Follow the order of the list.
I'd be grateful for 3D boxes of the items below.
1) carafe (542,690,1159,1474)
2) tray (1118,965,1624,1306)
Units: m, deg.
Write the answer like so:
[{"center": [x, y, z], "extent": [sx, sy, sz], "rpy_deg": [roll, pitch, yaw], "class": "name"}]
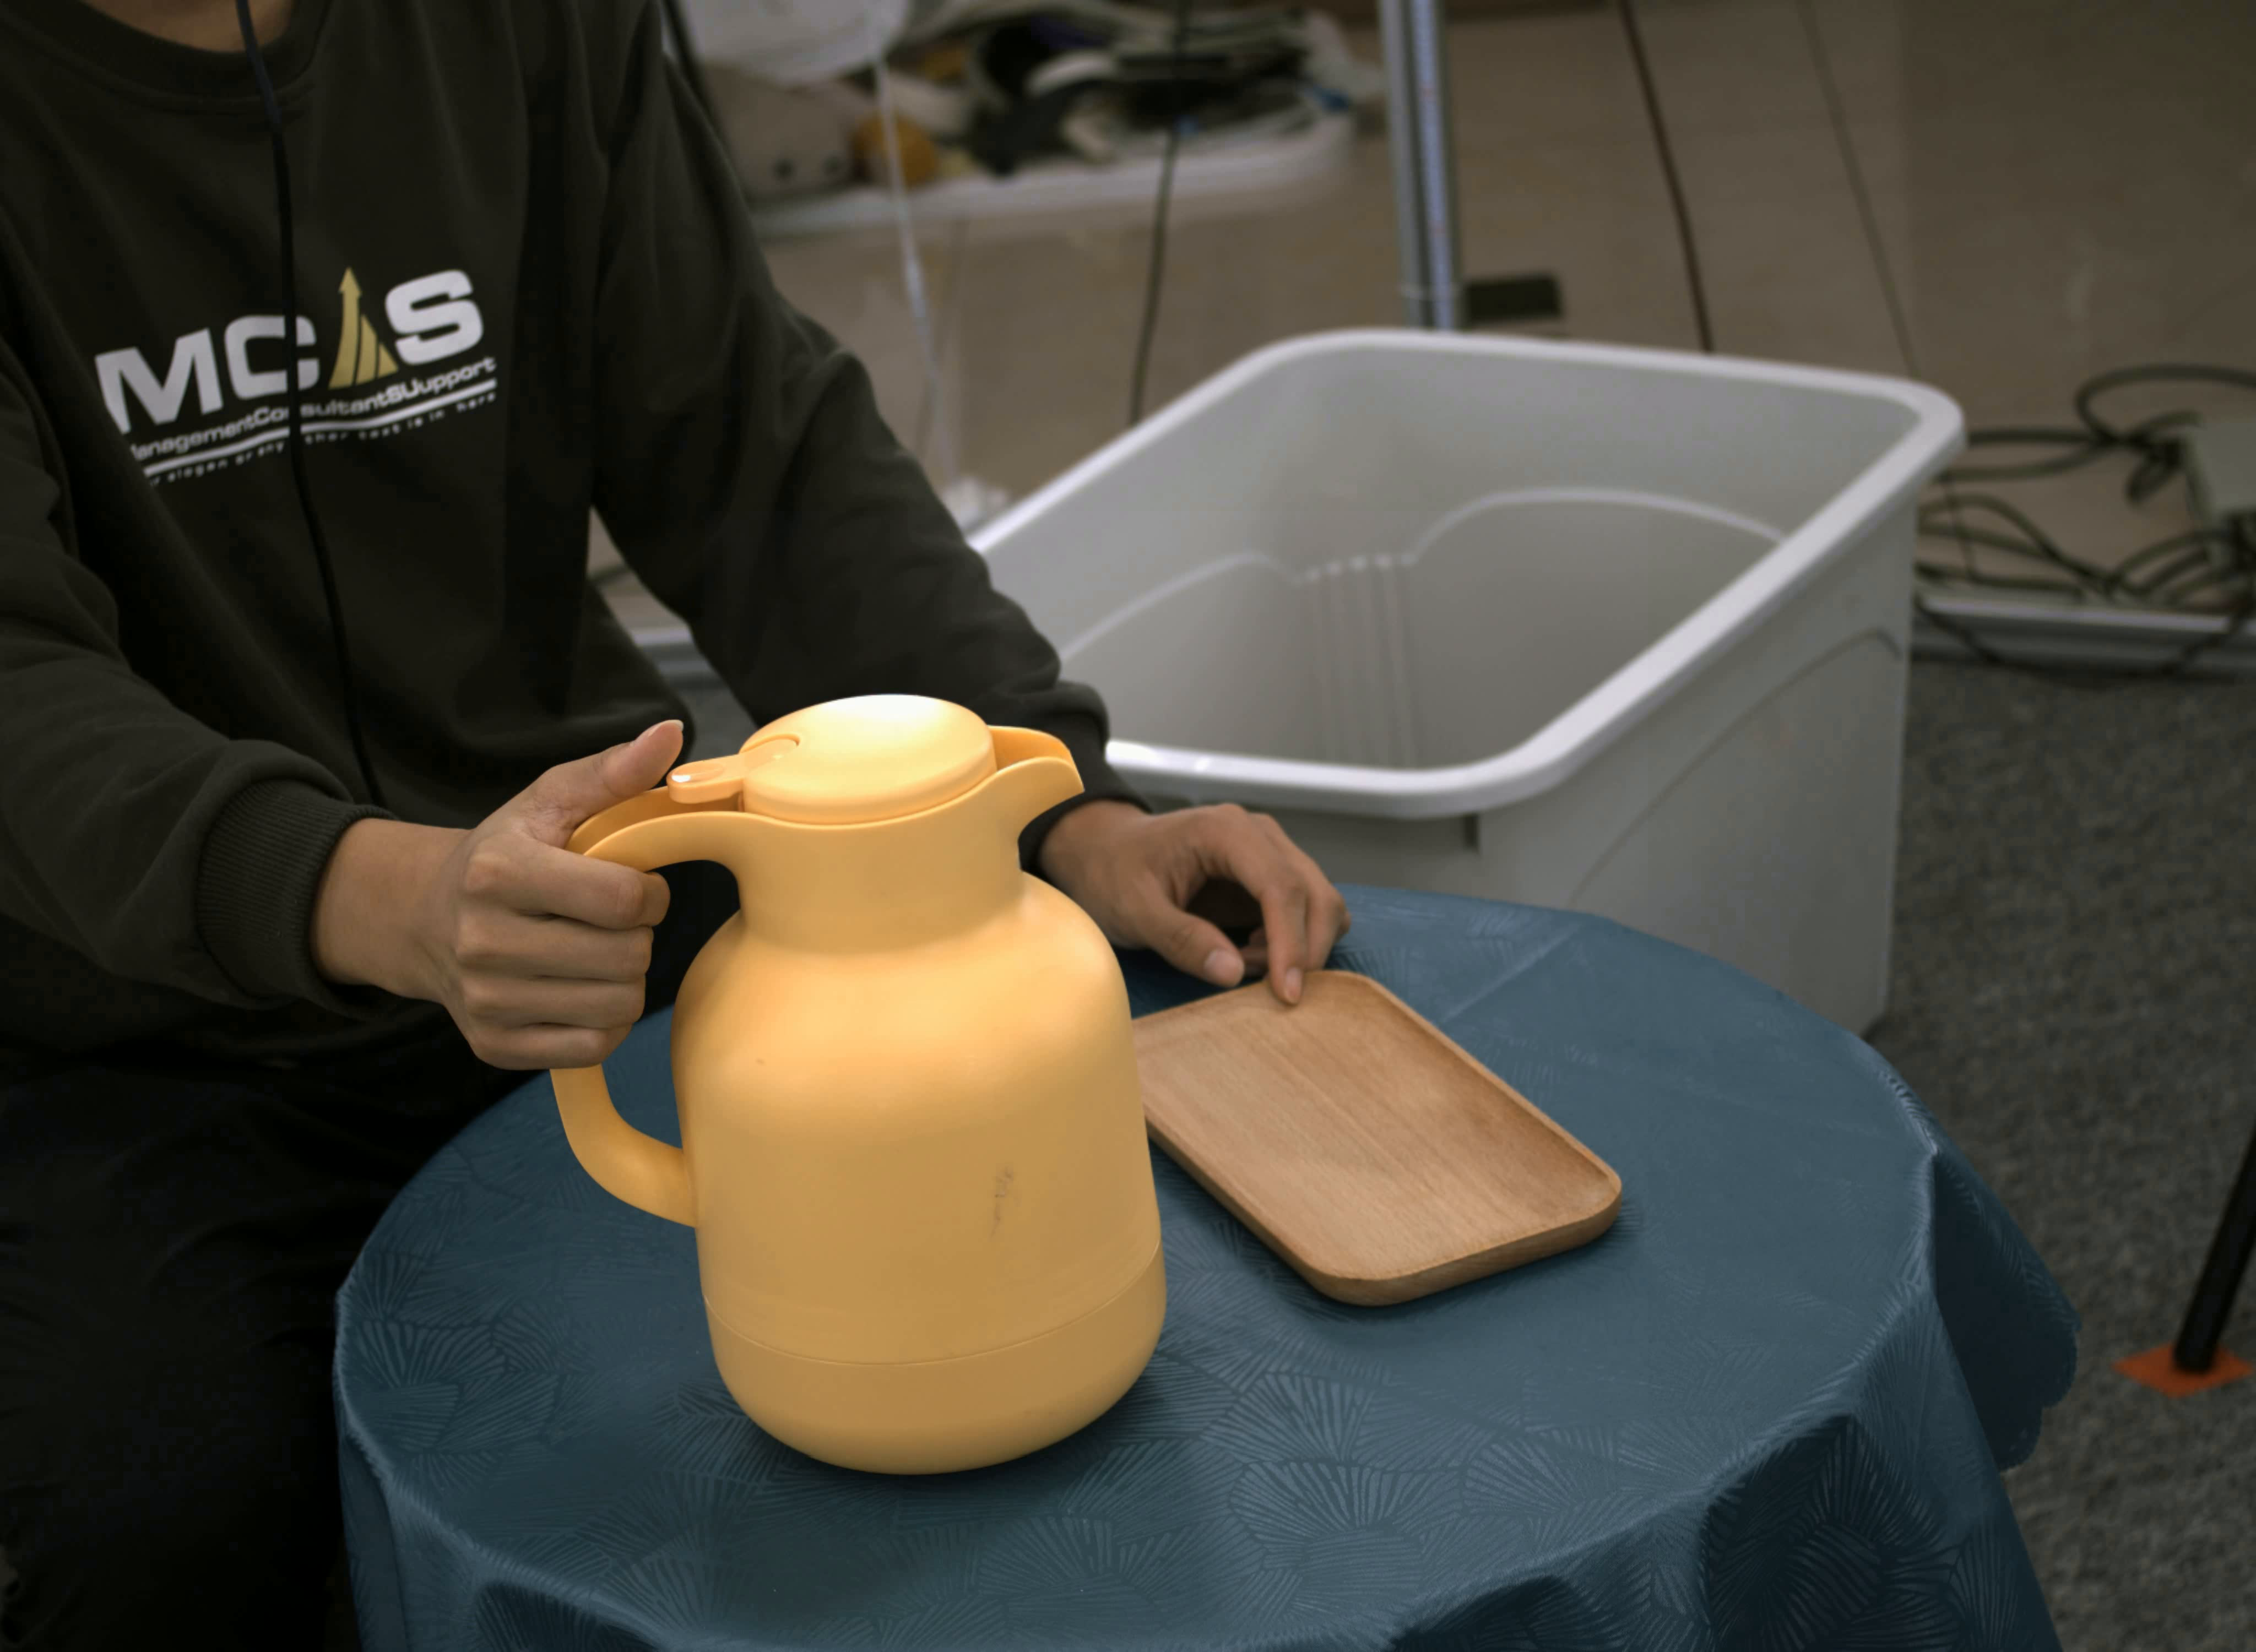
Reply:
[{"center": [-0.097, 0.086, 1.967], "extent": [0.202, 0.264, 0.161], "rpy_deg": [-6, 22, -3], "class": "carafe"}, {"center": [0.083, 0.115, 2.158], "extent": [0.130, 0.023, 0.248], "rpy_deg": [-13, 24, -20], "class": "tray"}]
